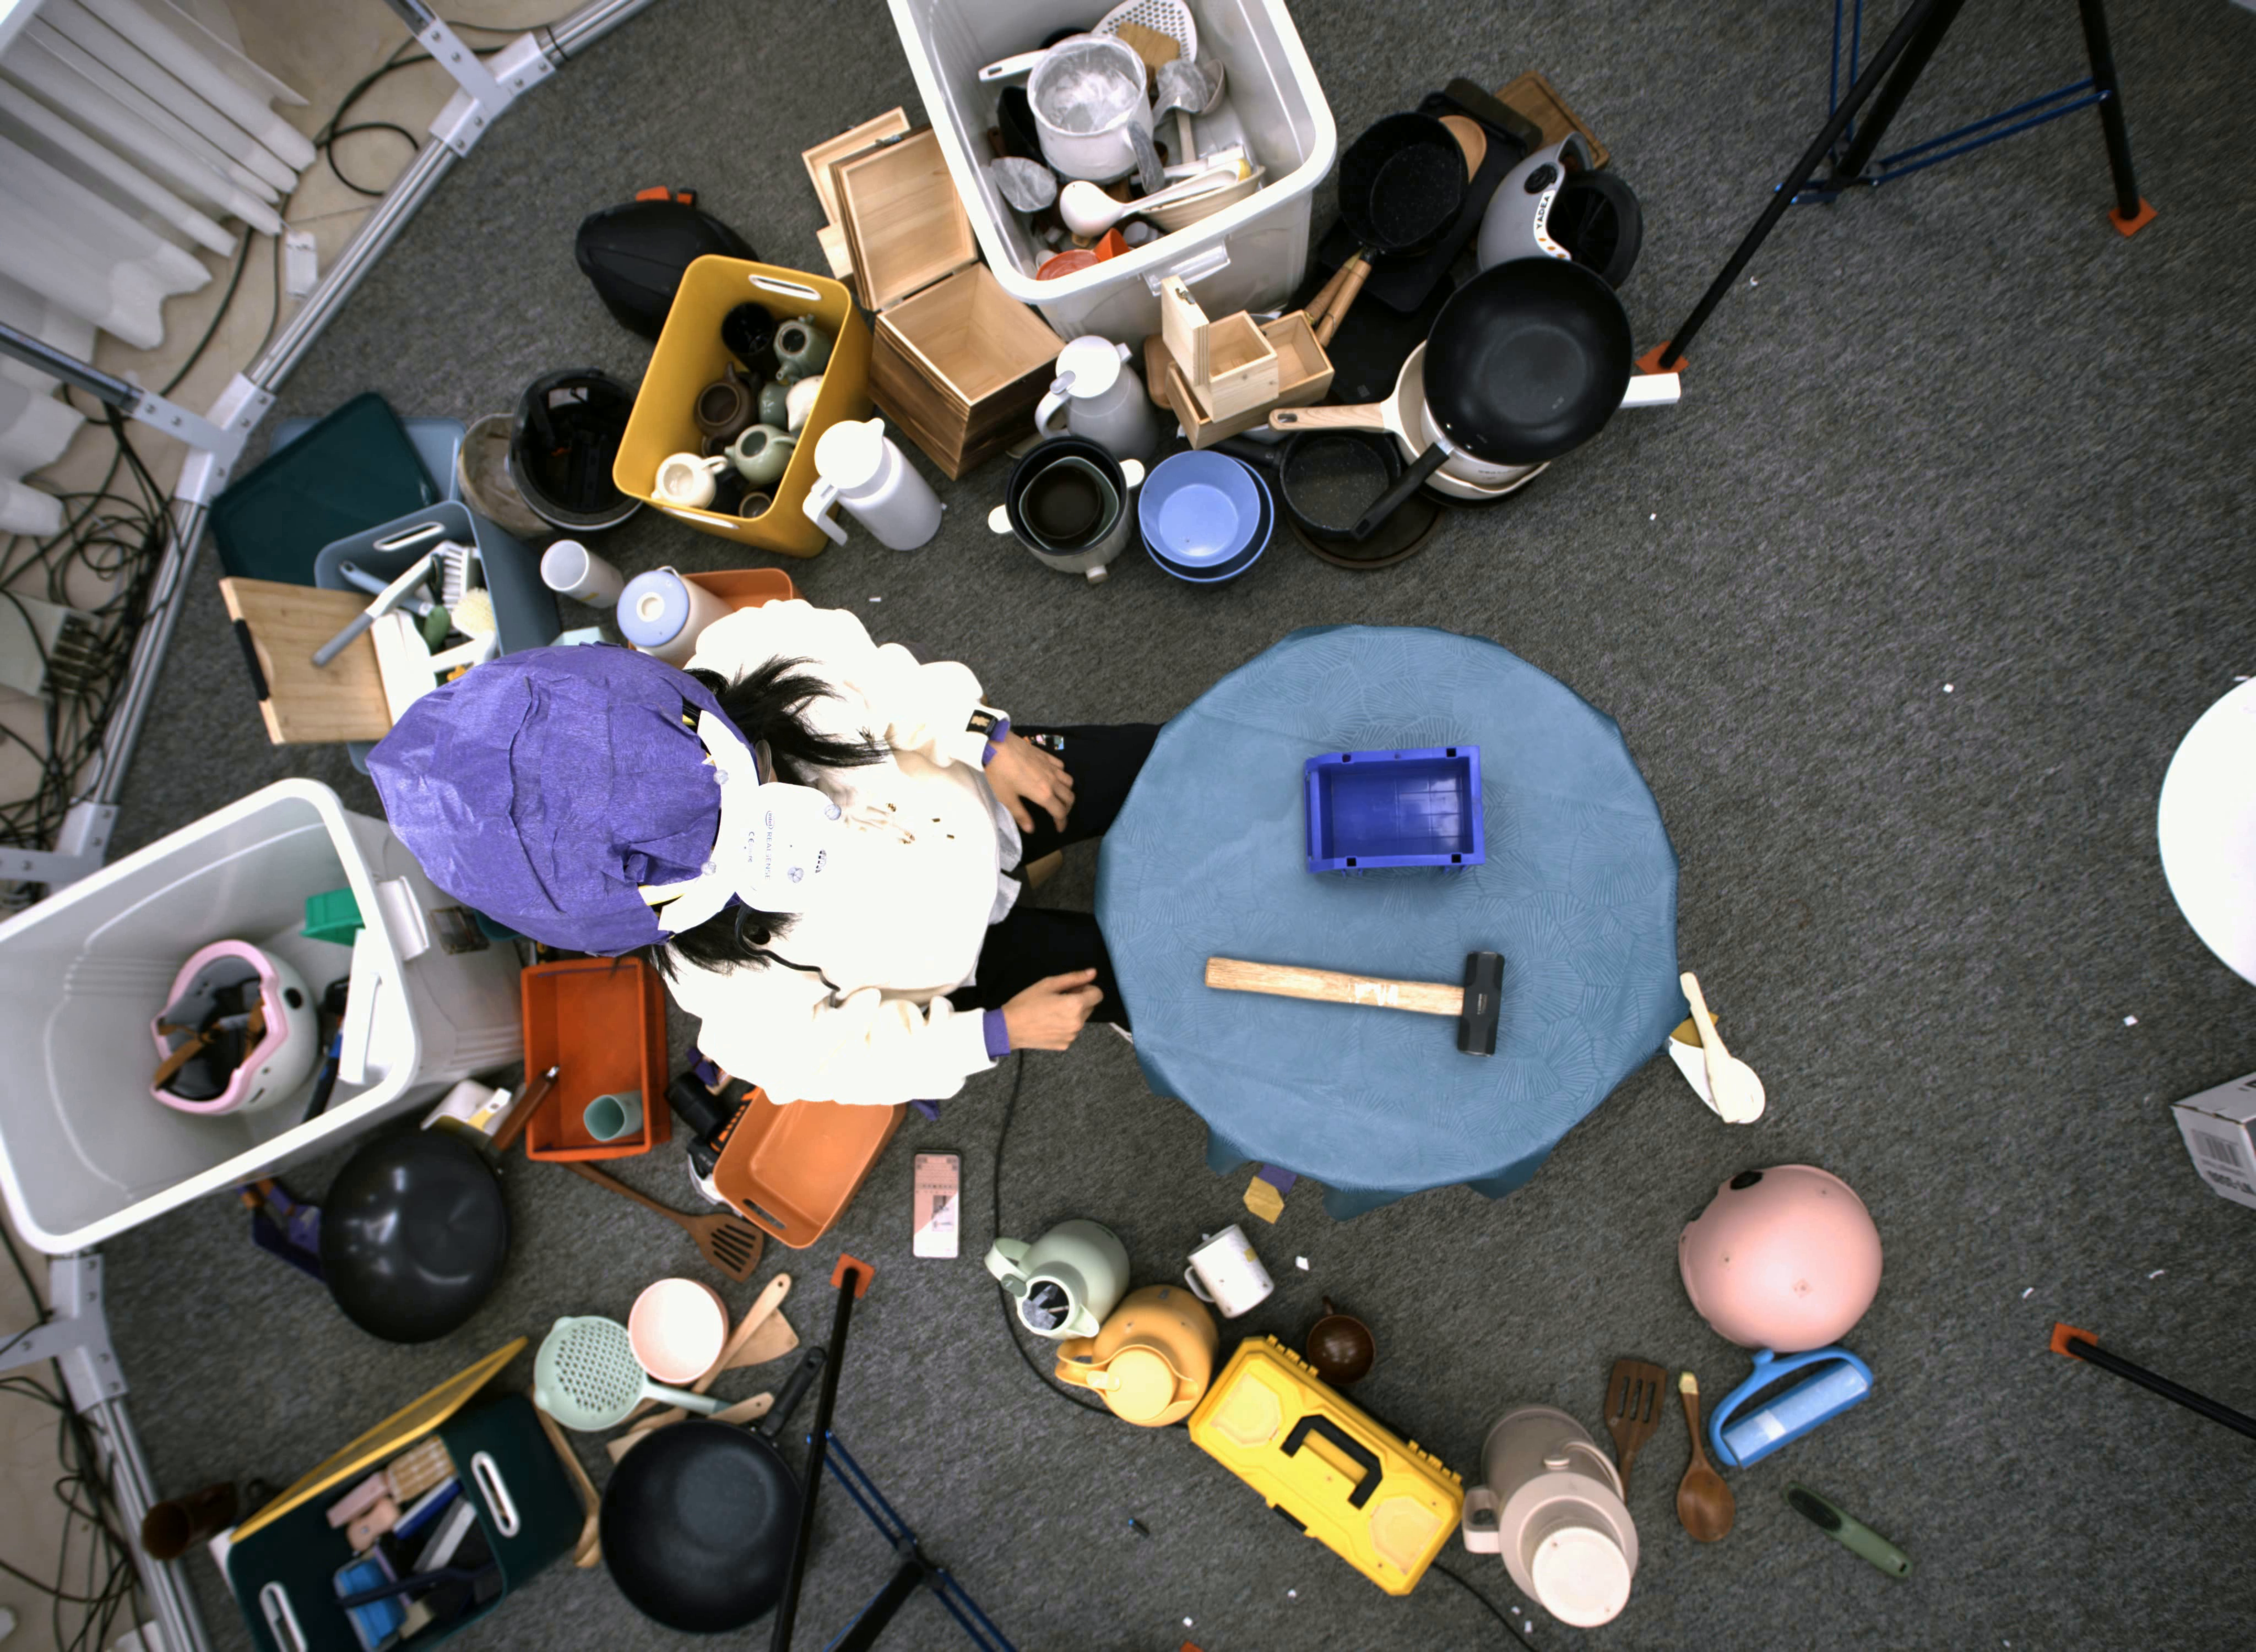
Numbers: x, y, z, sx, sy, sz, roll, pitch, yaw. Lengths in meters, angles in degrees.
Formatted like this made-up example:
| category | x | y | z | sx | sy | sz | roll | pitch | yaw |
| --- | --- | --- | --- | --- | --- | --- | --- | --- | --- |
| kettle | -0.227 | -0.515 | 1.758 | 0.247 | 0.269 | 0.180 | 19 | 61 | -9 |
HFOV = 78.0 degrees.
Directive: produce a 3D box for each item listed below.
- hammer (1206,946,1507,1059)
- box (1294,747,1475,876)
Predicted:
| category | x | y | z | sx | sy | sz | roll | pitch | yaw |
| --- | --- | --- | --- | --- | --- | --- | --- | --- | --- |
| hammer | 0.234 | 0.164 | 1.445 | 0.306 | 0.038 | 0.107 | 8 | 88 | 12 |
| box | 0.262 | -0.013 | 1.425 | 0.180 | 0.082 | 0.124 | -1 | 86 | 8 |
